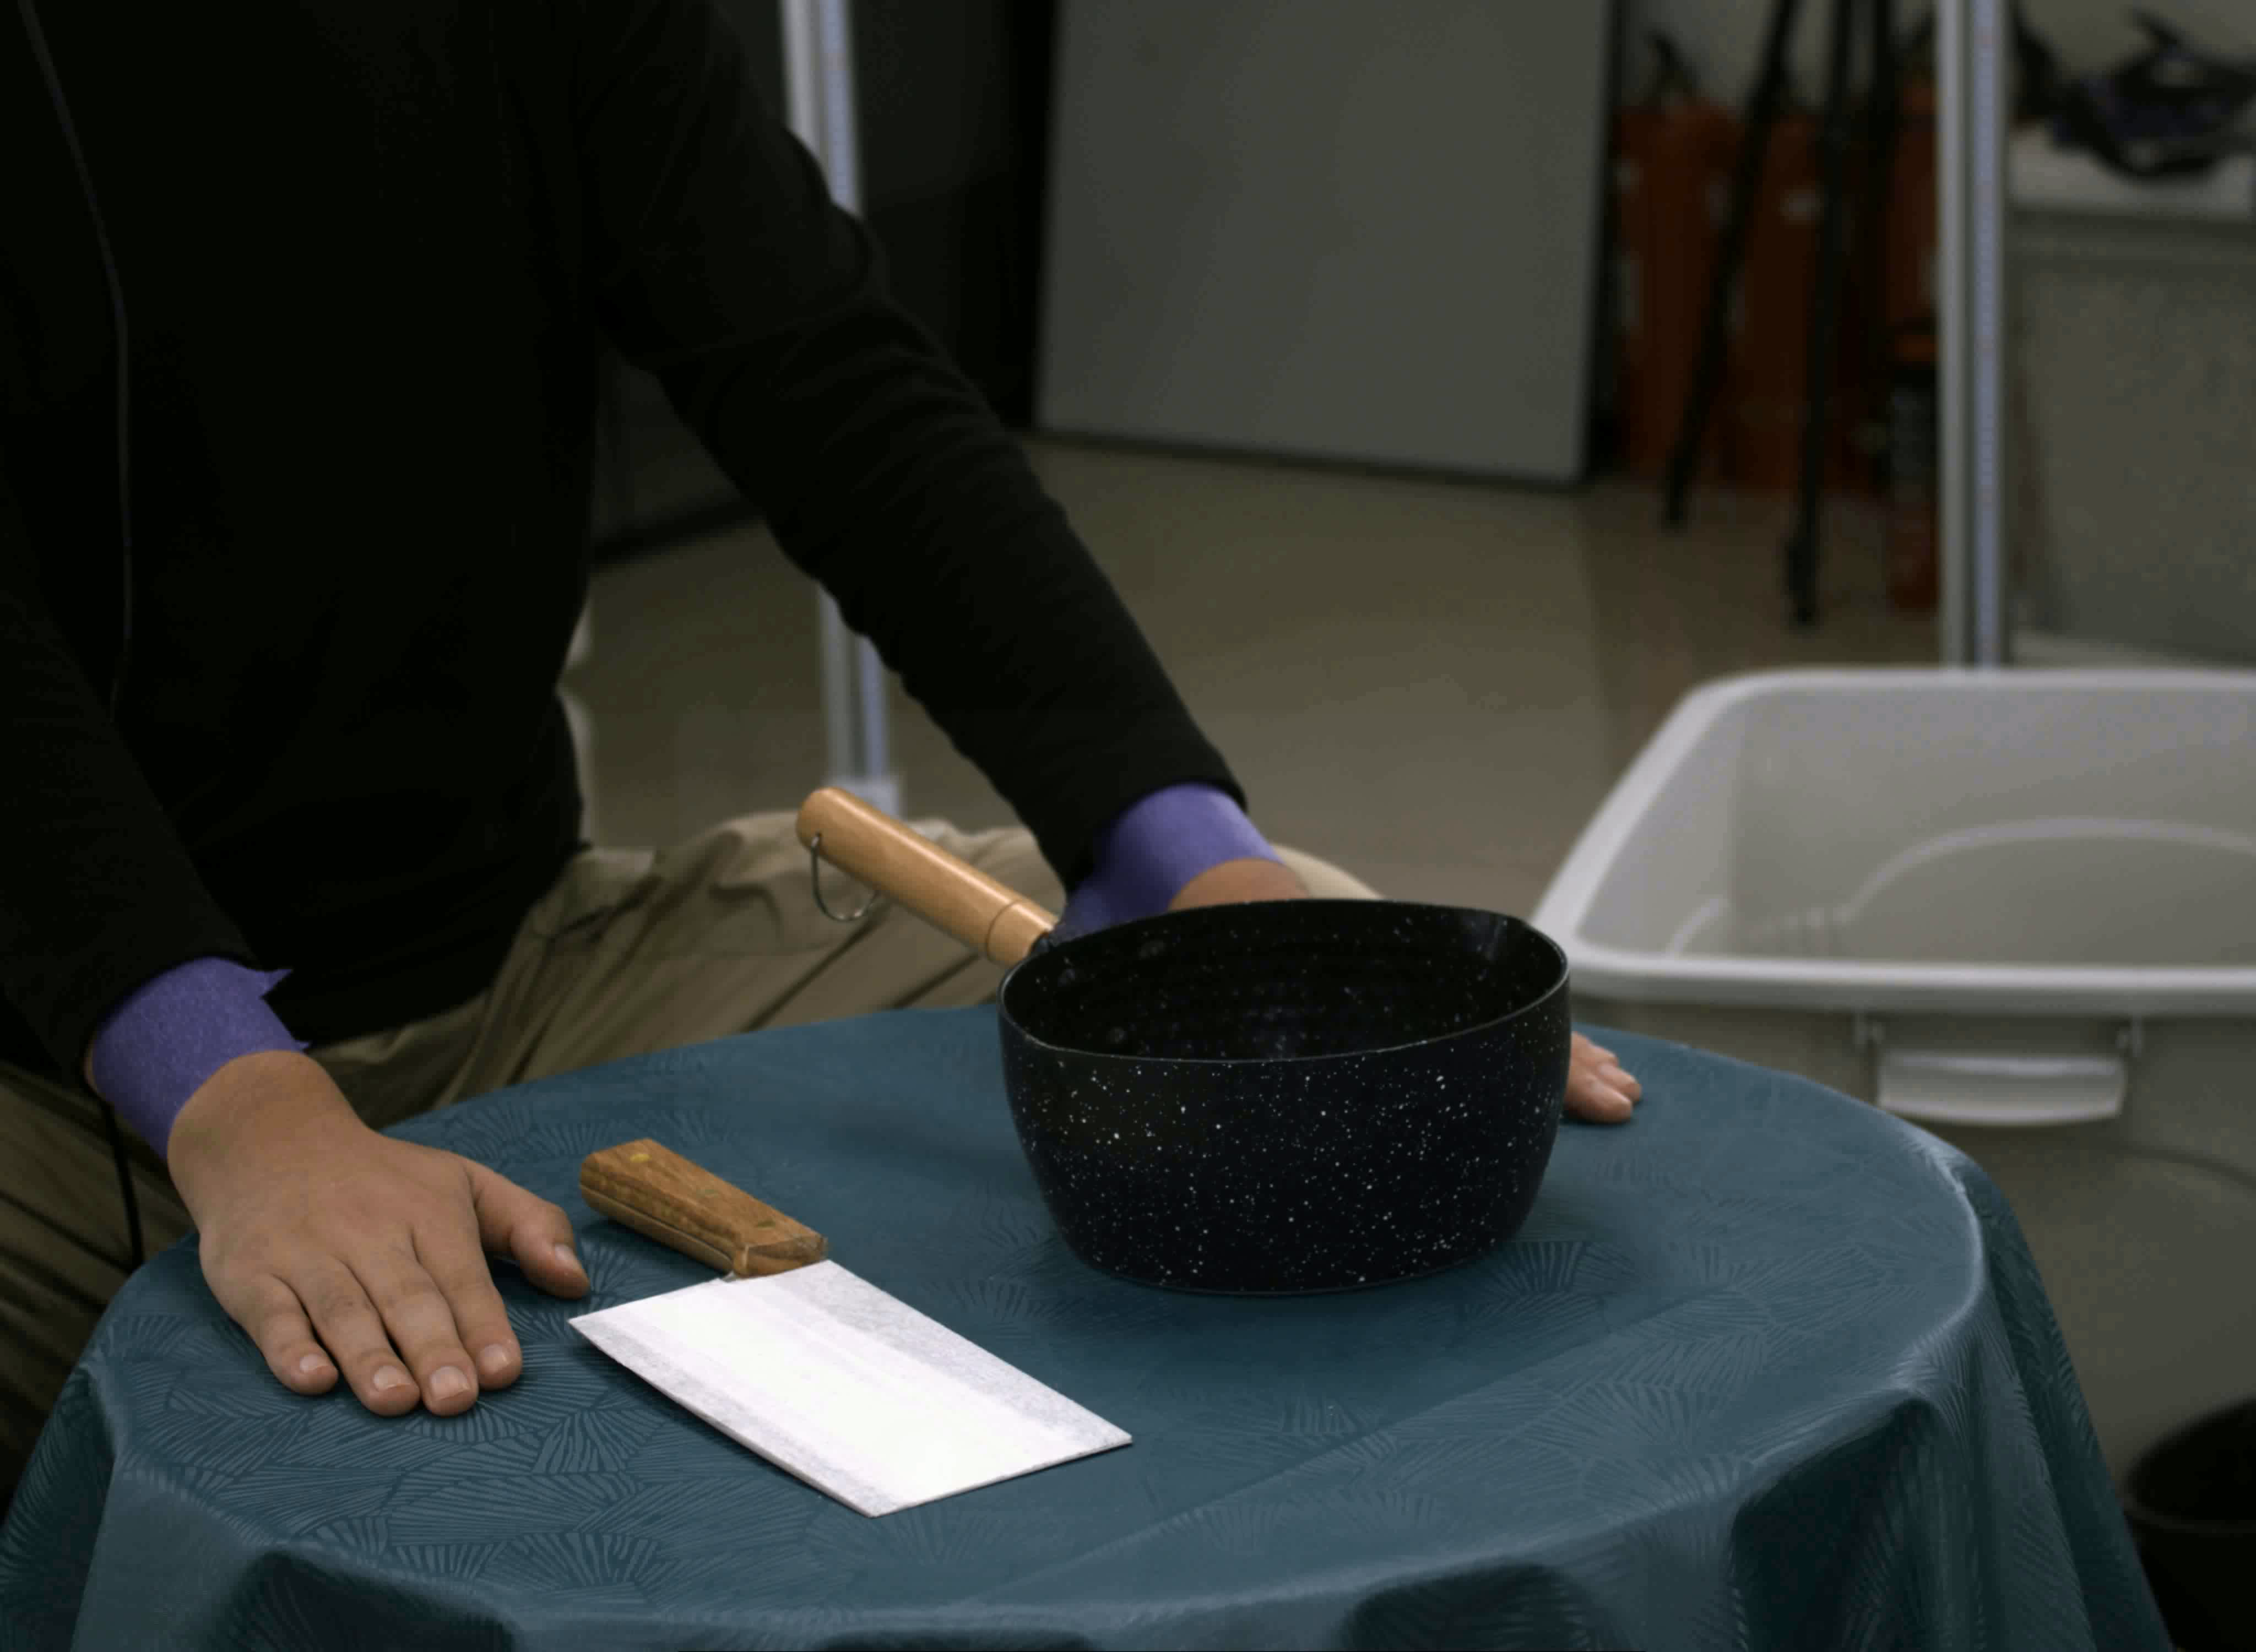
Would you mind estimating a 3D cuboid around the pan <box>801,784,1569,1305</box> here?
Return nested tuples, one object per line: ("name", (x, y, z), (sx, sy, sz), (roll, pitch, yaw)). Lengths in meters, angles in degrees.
("pan", (-0.001, 0.065, 1.779), (0.203, 0.109, 0.346), (-15, 18, -37))

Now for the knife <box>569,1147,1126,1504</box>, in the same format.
("knife", (-0.113, 0.153, 1.650), (0.091, 0.021, 0.309), (-13, 19, -29))
